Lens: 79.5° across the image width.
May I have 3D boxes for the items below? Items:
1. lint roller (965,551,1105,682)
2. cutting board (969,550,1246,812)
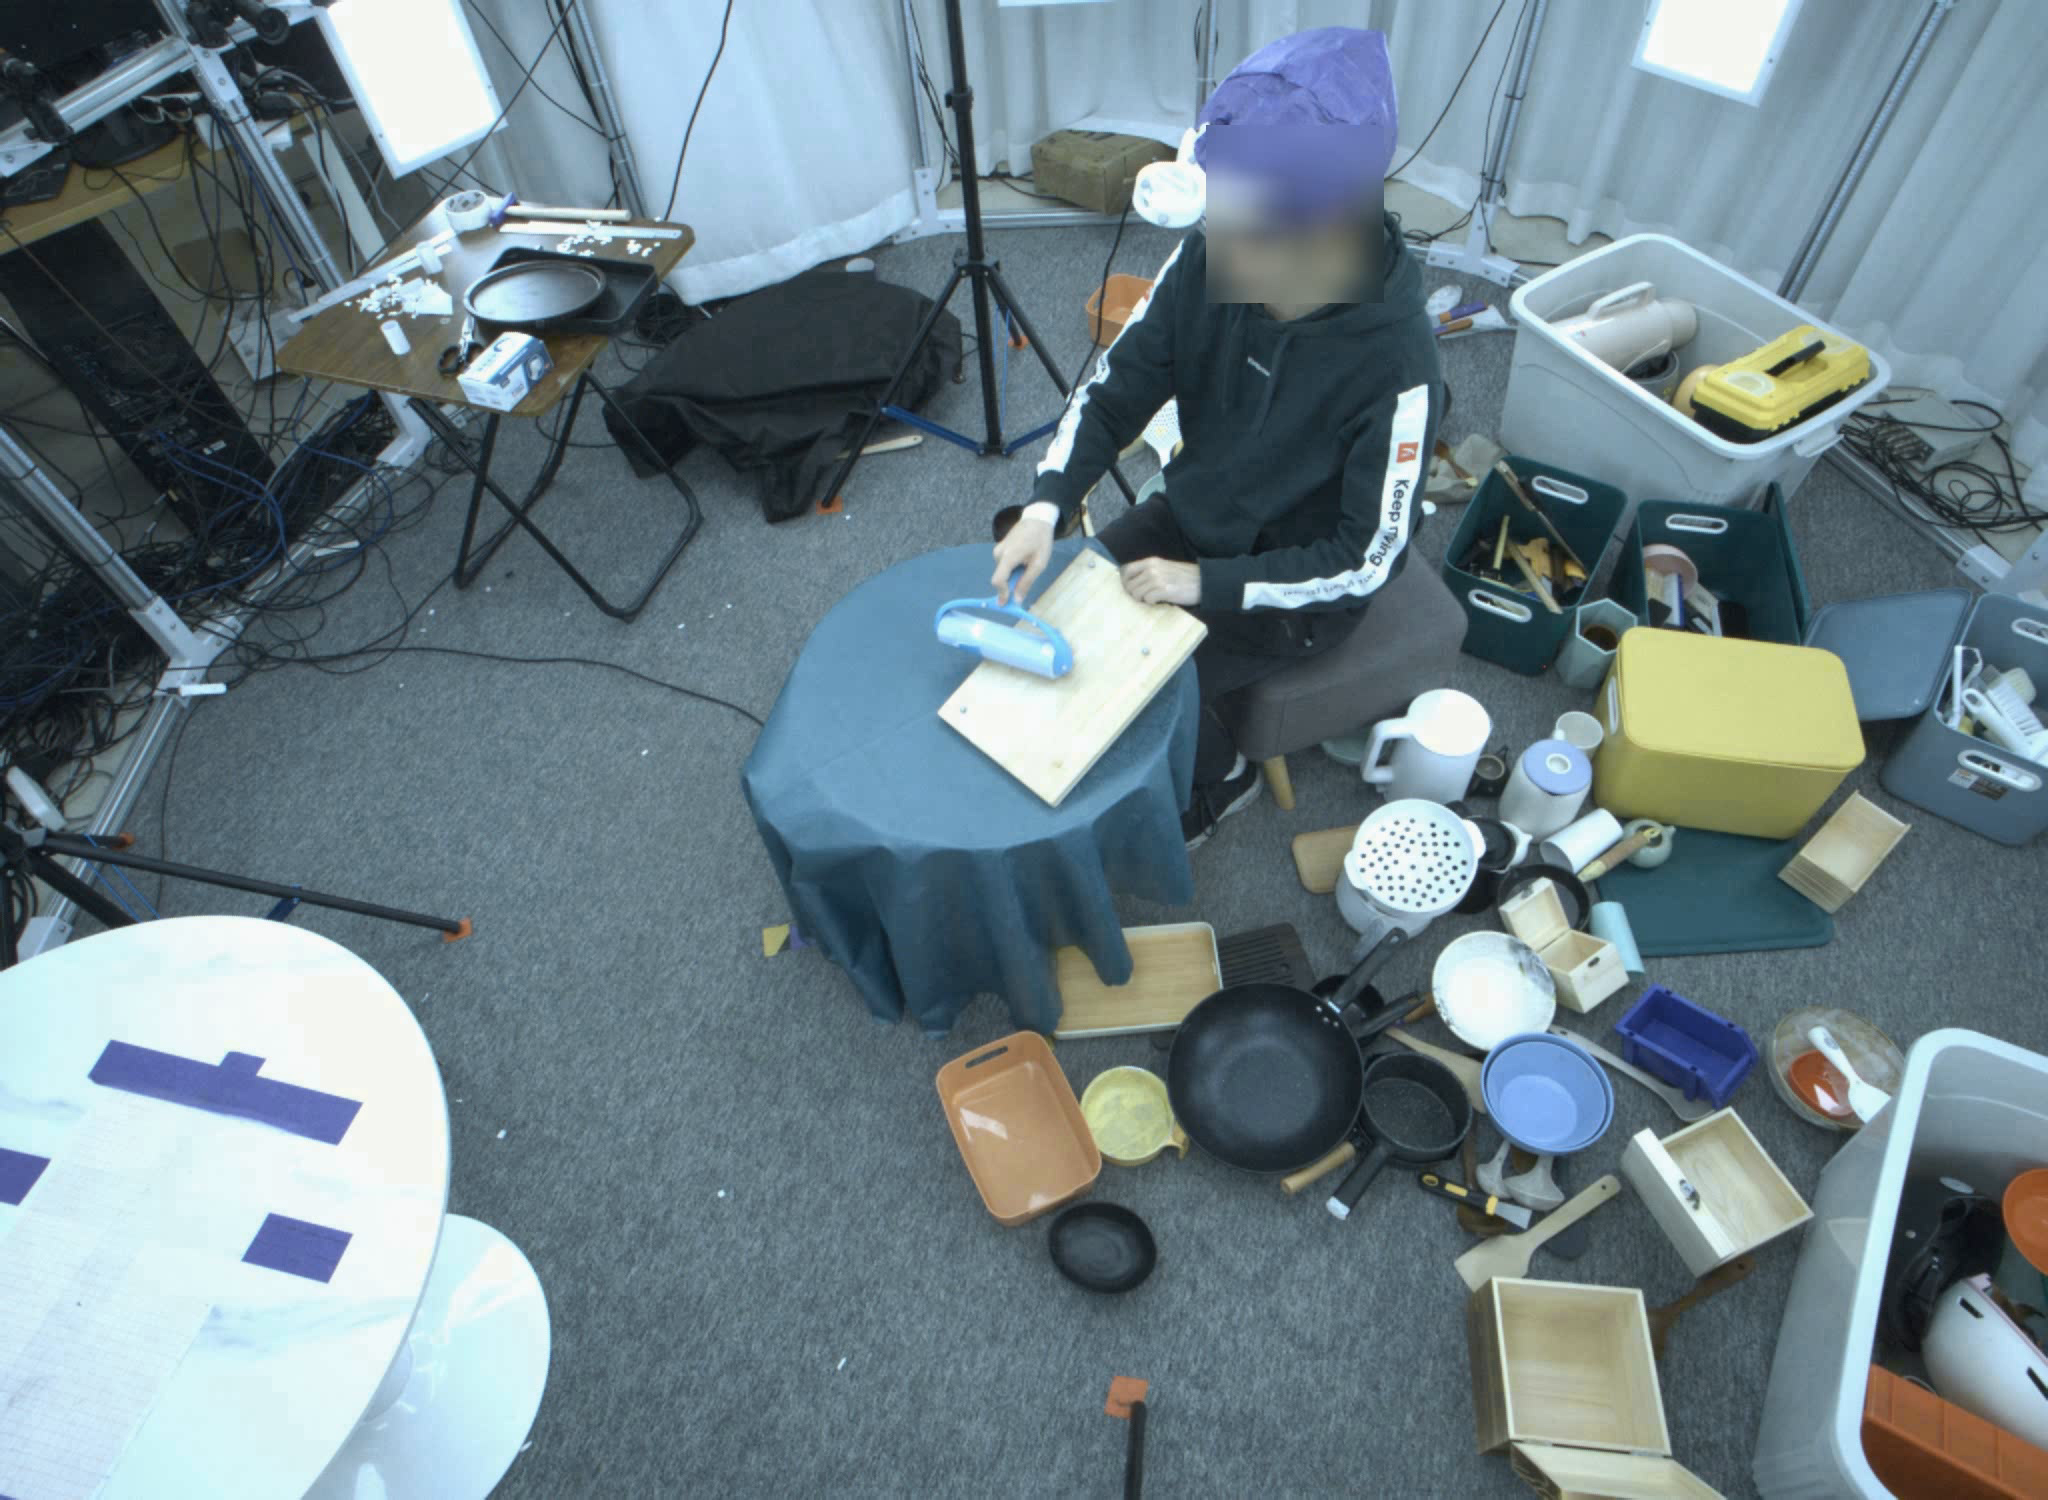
[{"bbox_3d":[0.029,-0.207,1.782,0.225,0.069,0.180,17,94,24],"label":"lint roller"},{"bbox_3d":[0.115,-0.107,1.781,0.246,0.024,0.349,39,82,26],"label":"cutting board"}]
